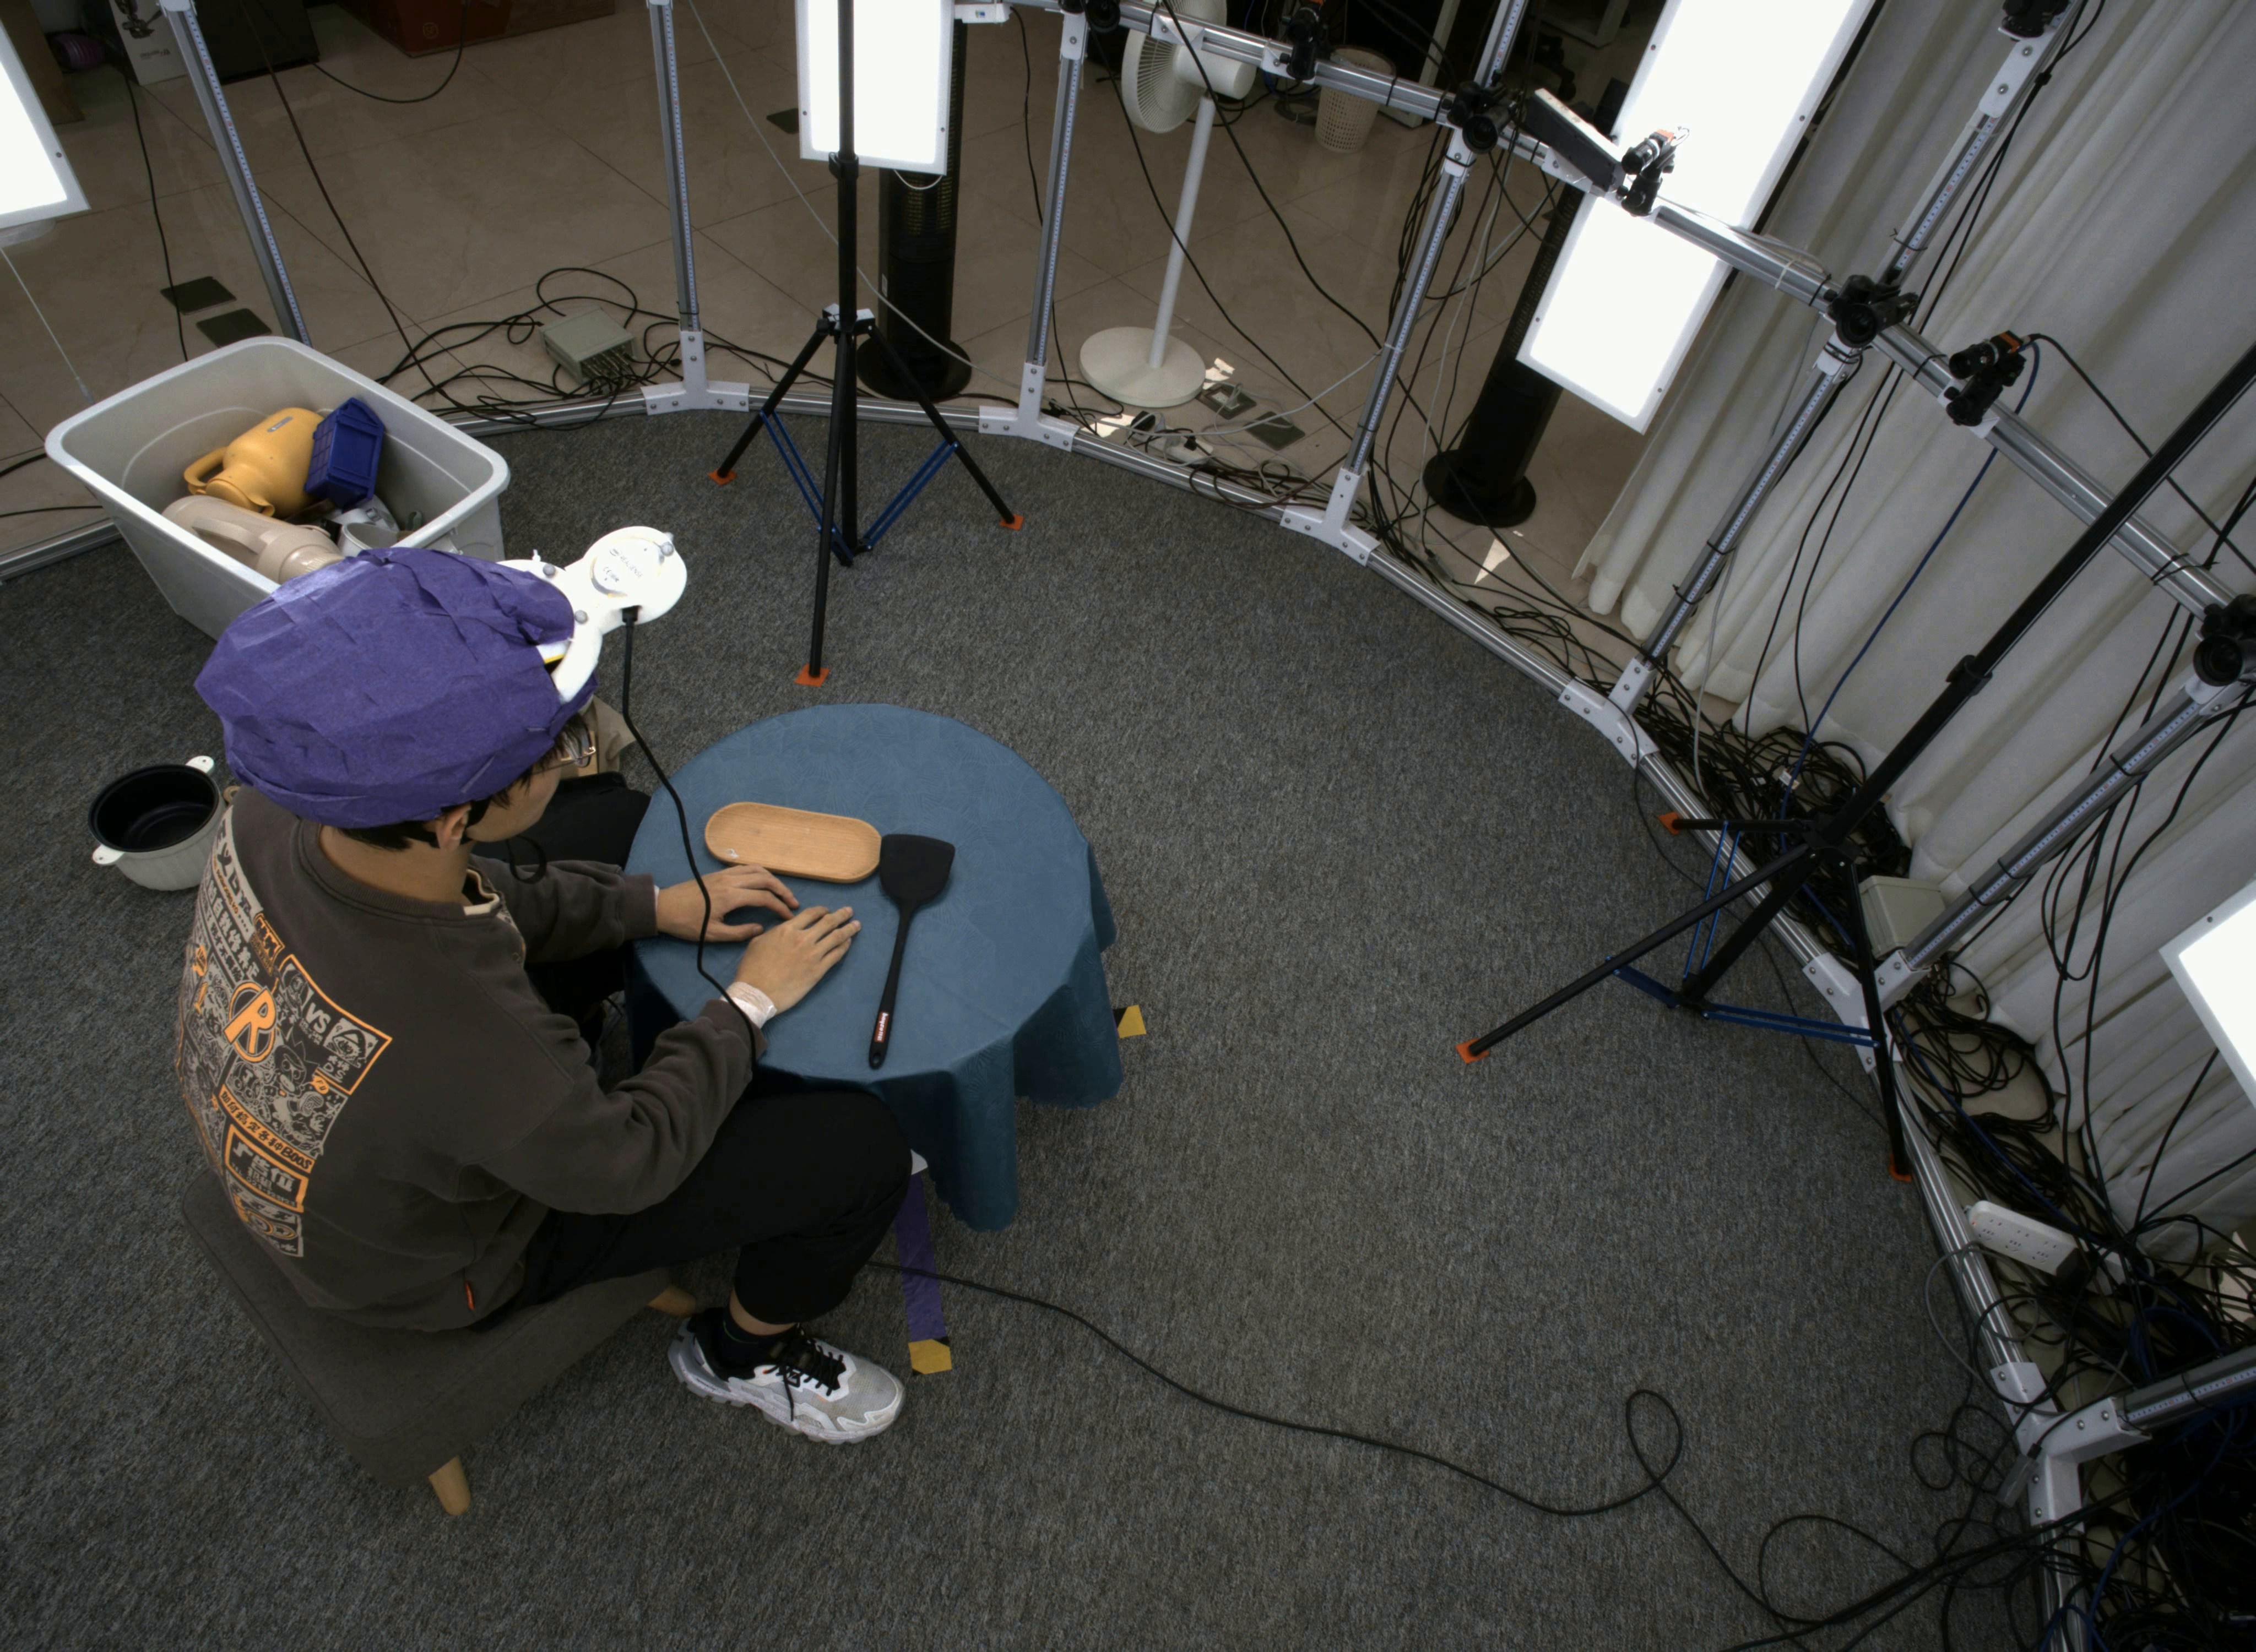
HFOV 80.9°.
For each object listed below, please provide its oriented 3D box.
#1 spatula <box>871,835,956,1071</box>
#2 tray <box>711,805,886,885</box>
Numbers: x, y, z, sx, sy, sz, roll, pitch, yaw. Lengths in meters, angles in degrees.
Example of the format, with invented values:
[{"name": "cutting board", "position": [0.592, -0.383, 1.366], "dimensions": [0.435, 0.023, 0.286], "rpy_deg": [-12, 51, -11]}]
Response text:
[{"name": "spatula", "position": [-0.287, 0.152, 1.637], "dimensions": [0.099, 0.041, 0.321], "rpy_deg": [9, 53, -5]}, {"name": "tray", "position": [-0.433, 0.024, 1.708], "dimensions": [0.230, 0.021, 0.100], "rpy_deg": [10, 53, -8]}]
